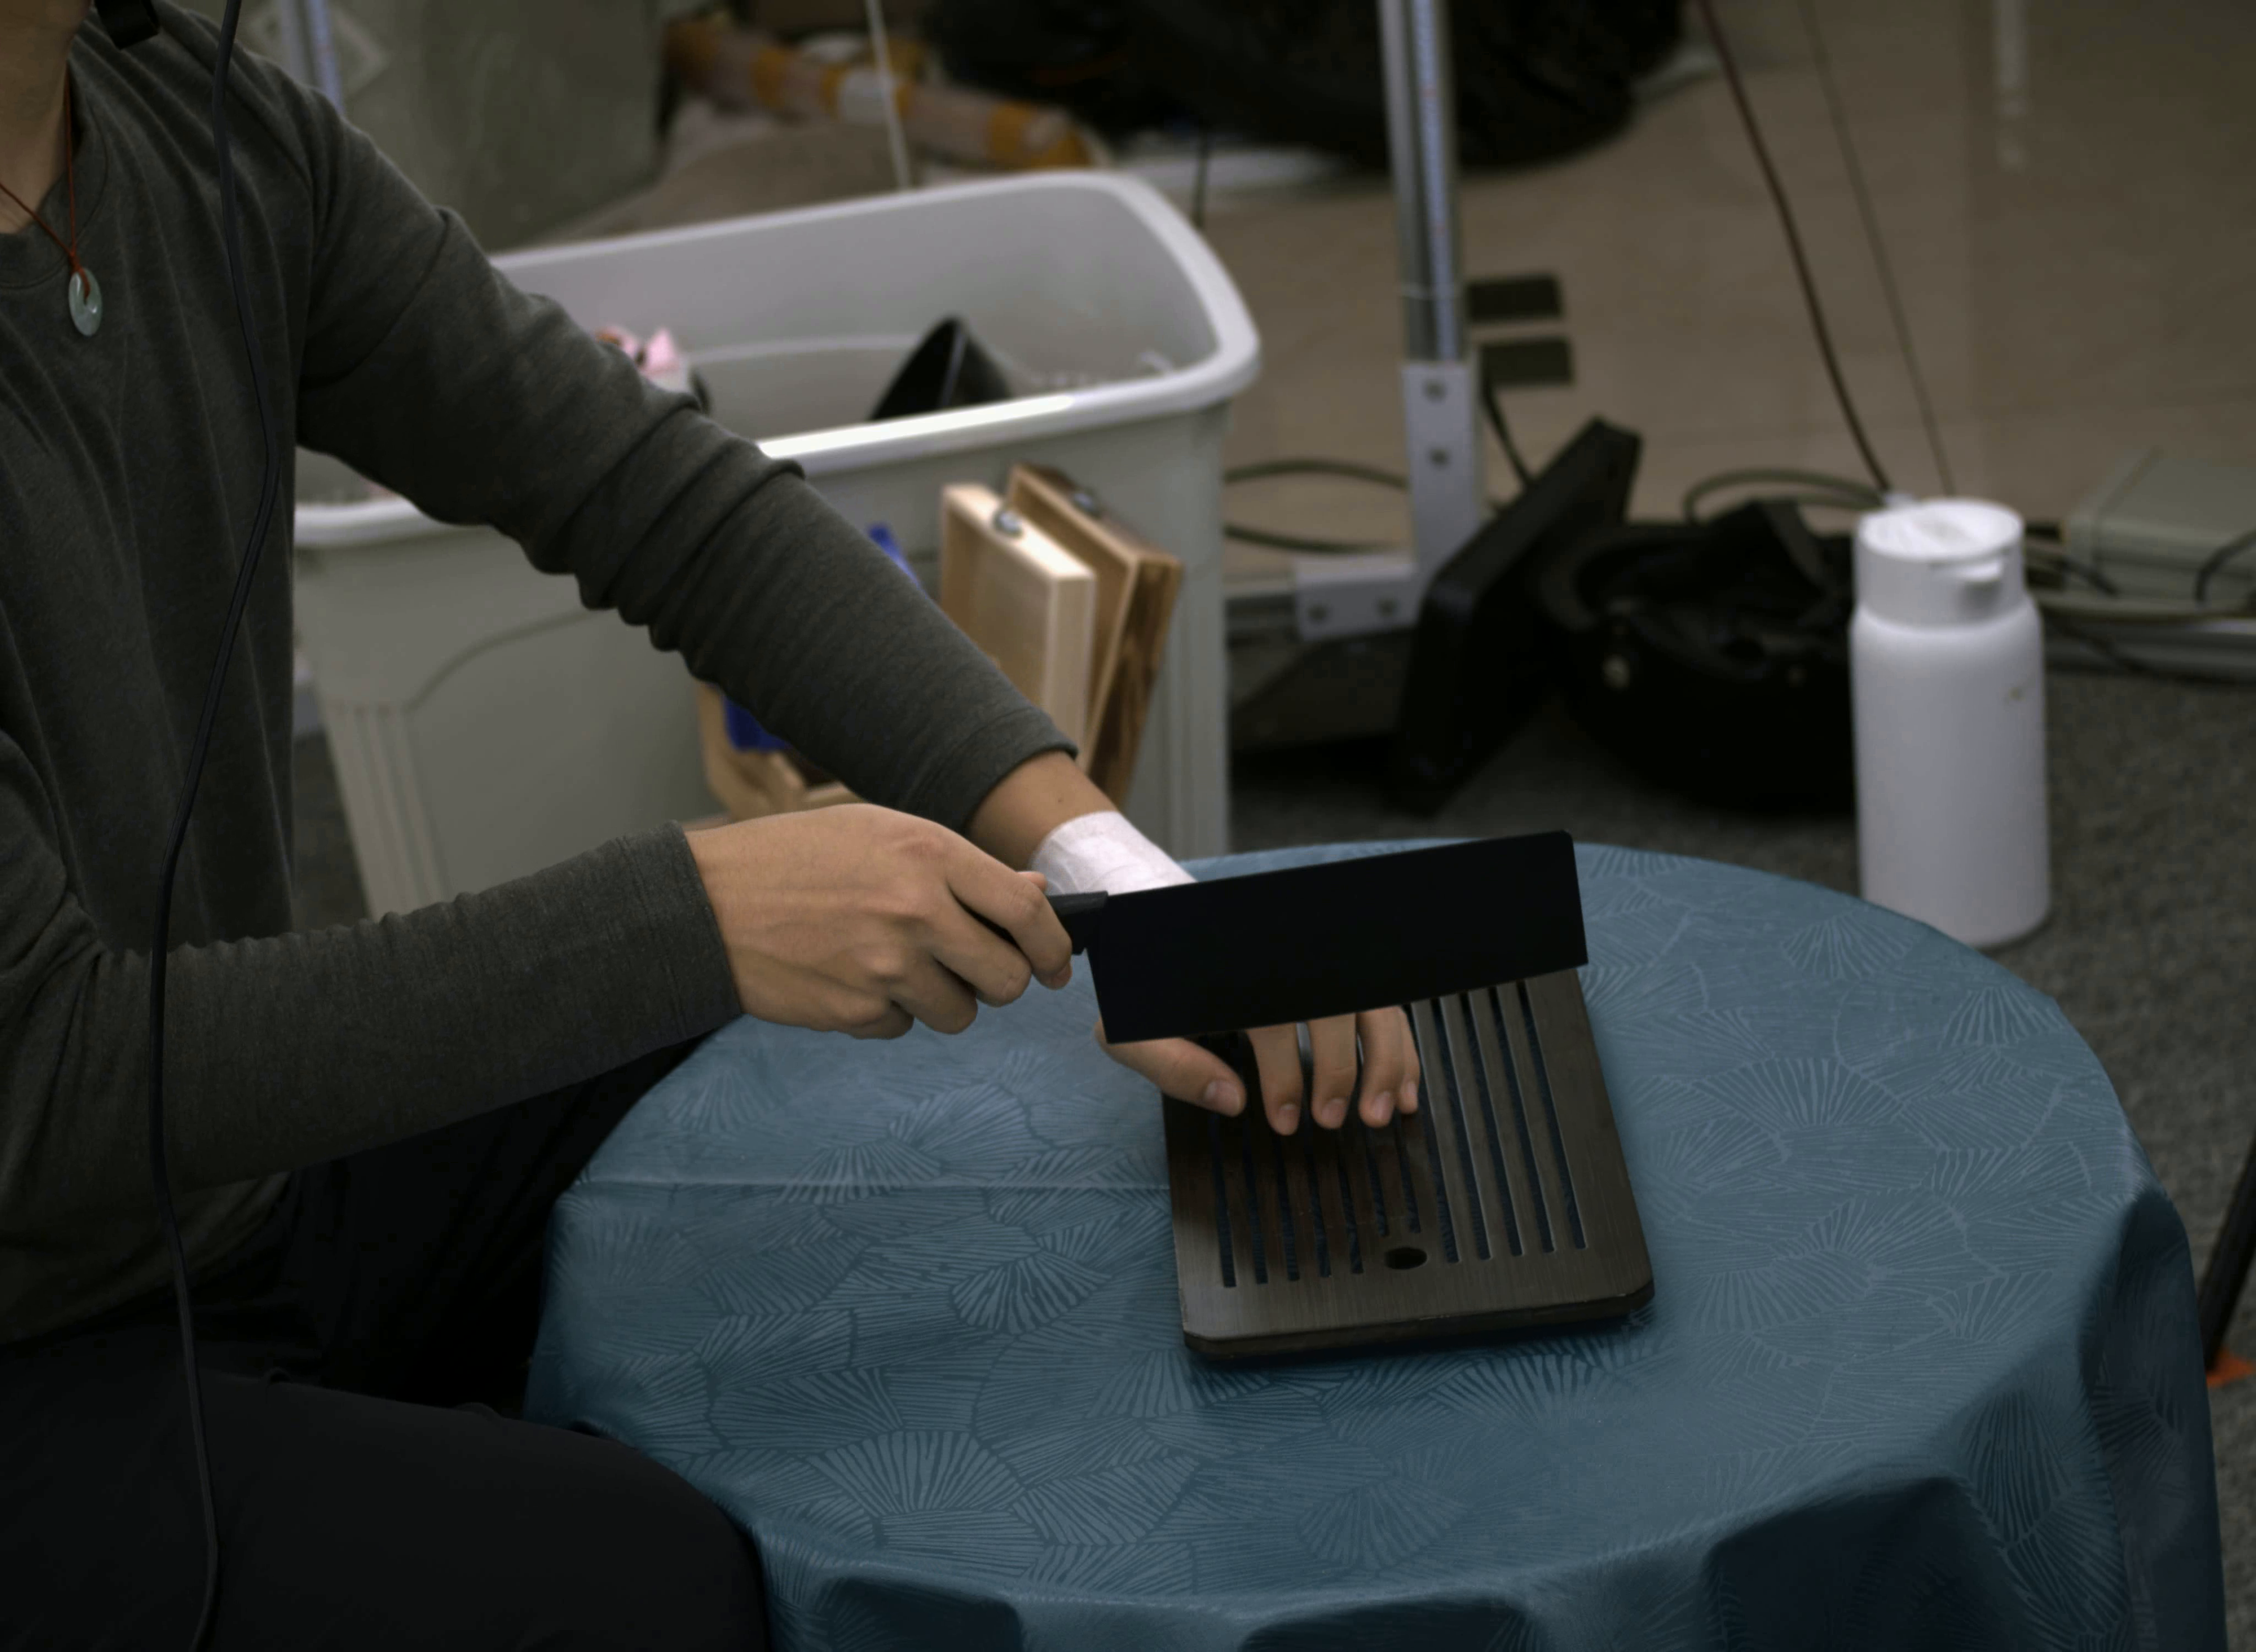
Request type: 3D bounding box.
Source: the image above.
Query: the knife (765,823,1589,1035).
[{"bbox_3d":[0.016,0.043,2.063,0.302,0.082,0.020,-5,34,2],"label":"knife"}]

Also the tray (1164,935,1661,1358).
[{"bbox_3d":[0.102,0.118,2.149,0.170,0.019,0.301,-7,24,1],"label":"tray"}]
